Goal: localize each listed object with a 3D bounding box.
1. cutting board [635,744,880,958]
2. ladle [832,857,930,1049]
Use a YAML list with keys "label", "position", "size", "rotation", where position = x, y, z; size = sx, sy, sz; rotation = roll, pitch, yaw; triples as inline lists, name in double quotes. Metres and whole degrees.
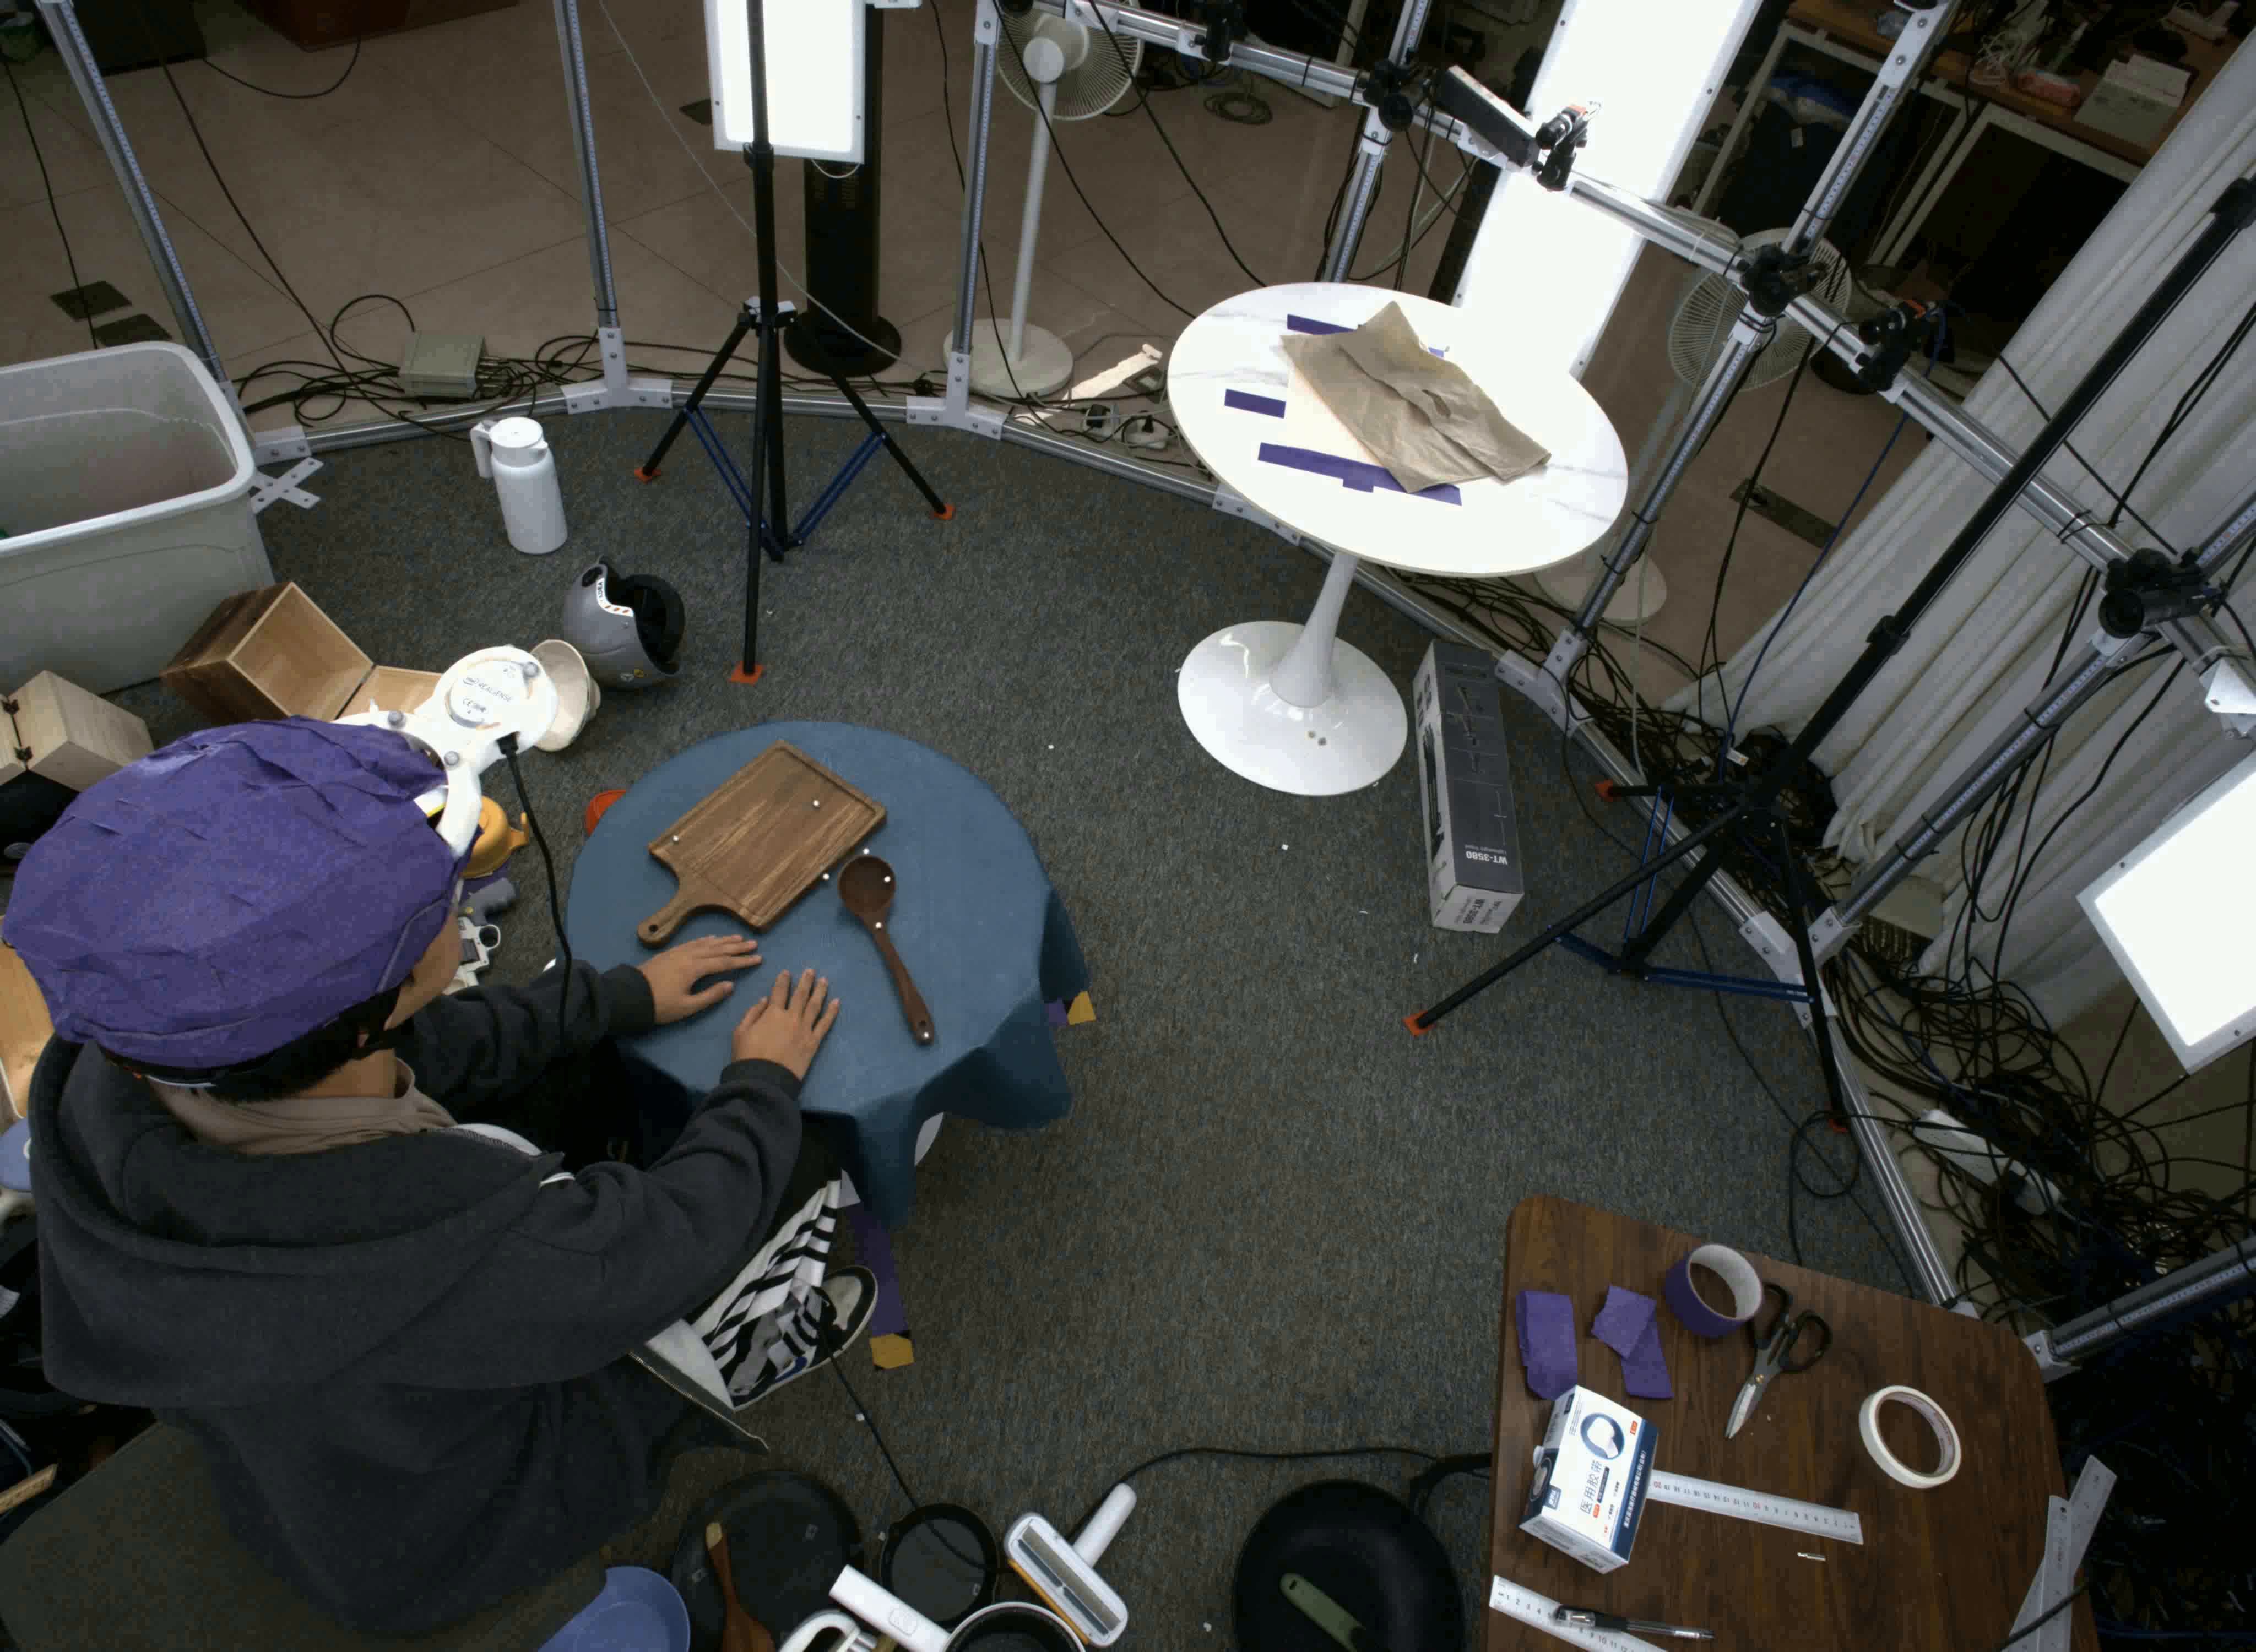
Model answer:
- label: "cutting board"
  position: [-0.503, 0.041, 1.663]
  size: [0.197, 0.024, 0.351]
  rotation: [32, 52, 12]
- label: "ladle"
  position: [-0.299, 0.151, 1.607]
  size: [0.077, 0.066, 0.254]
  rotation: [-18, 60, -20]
